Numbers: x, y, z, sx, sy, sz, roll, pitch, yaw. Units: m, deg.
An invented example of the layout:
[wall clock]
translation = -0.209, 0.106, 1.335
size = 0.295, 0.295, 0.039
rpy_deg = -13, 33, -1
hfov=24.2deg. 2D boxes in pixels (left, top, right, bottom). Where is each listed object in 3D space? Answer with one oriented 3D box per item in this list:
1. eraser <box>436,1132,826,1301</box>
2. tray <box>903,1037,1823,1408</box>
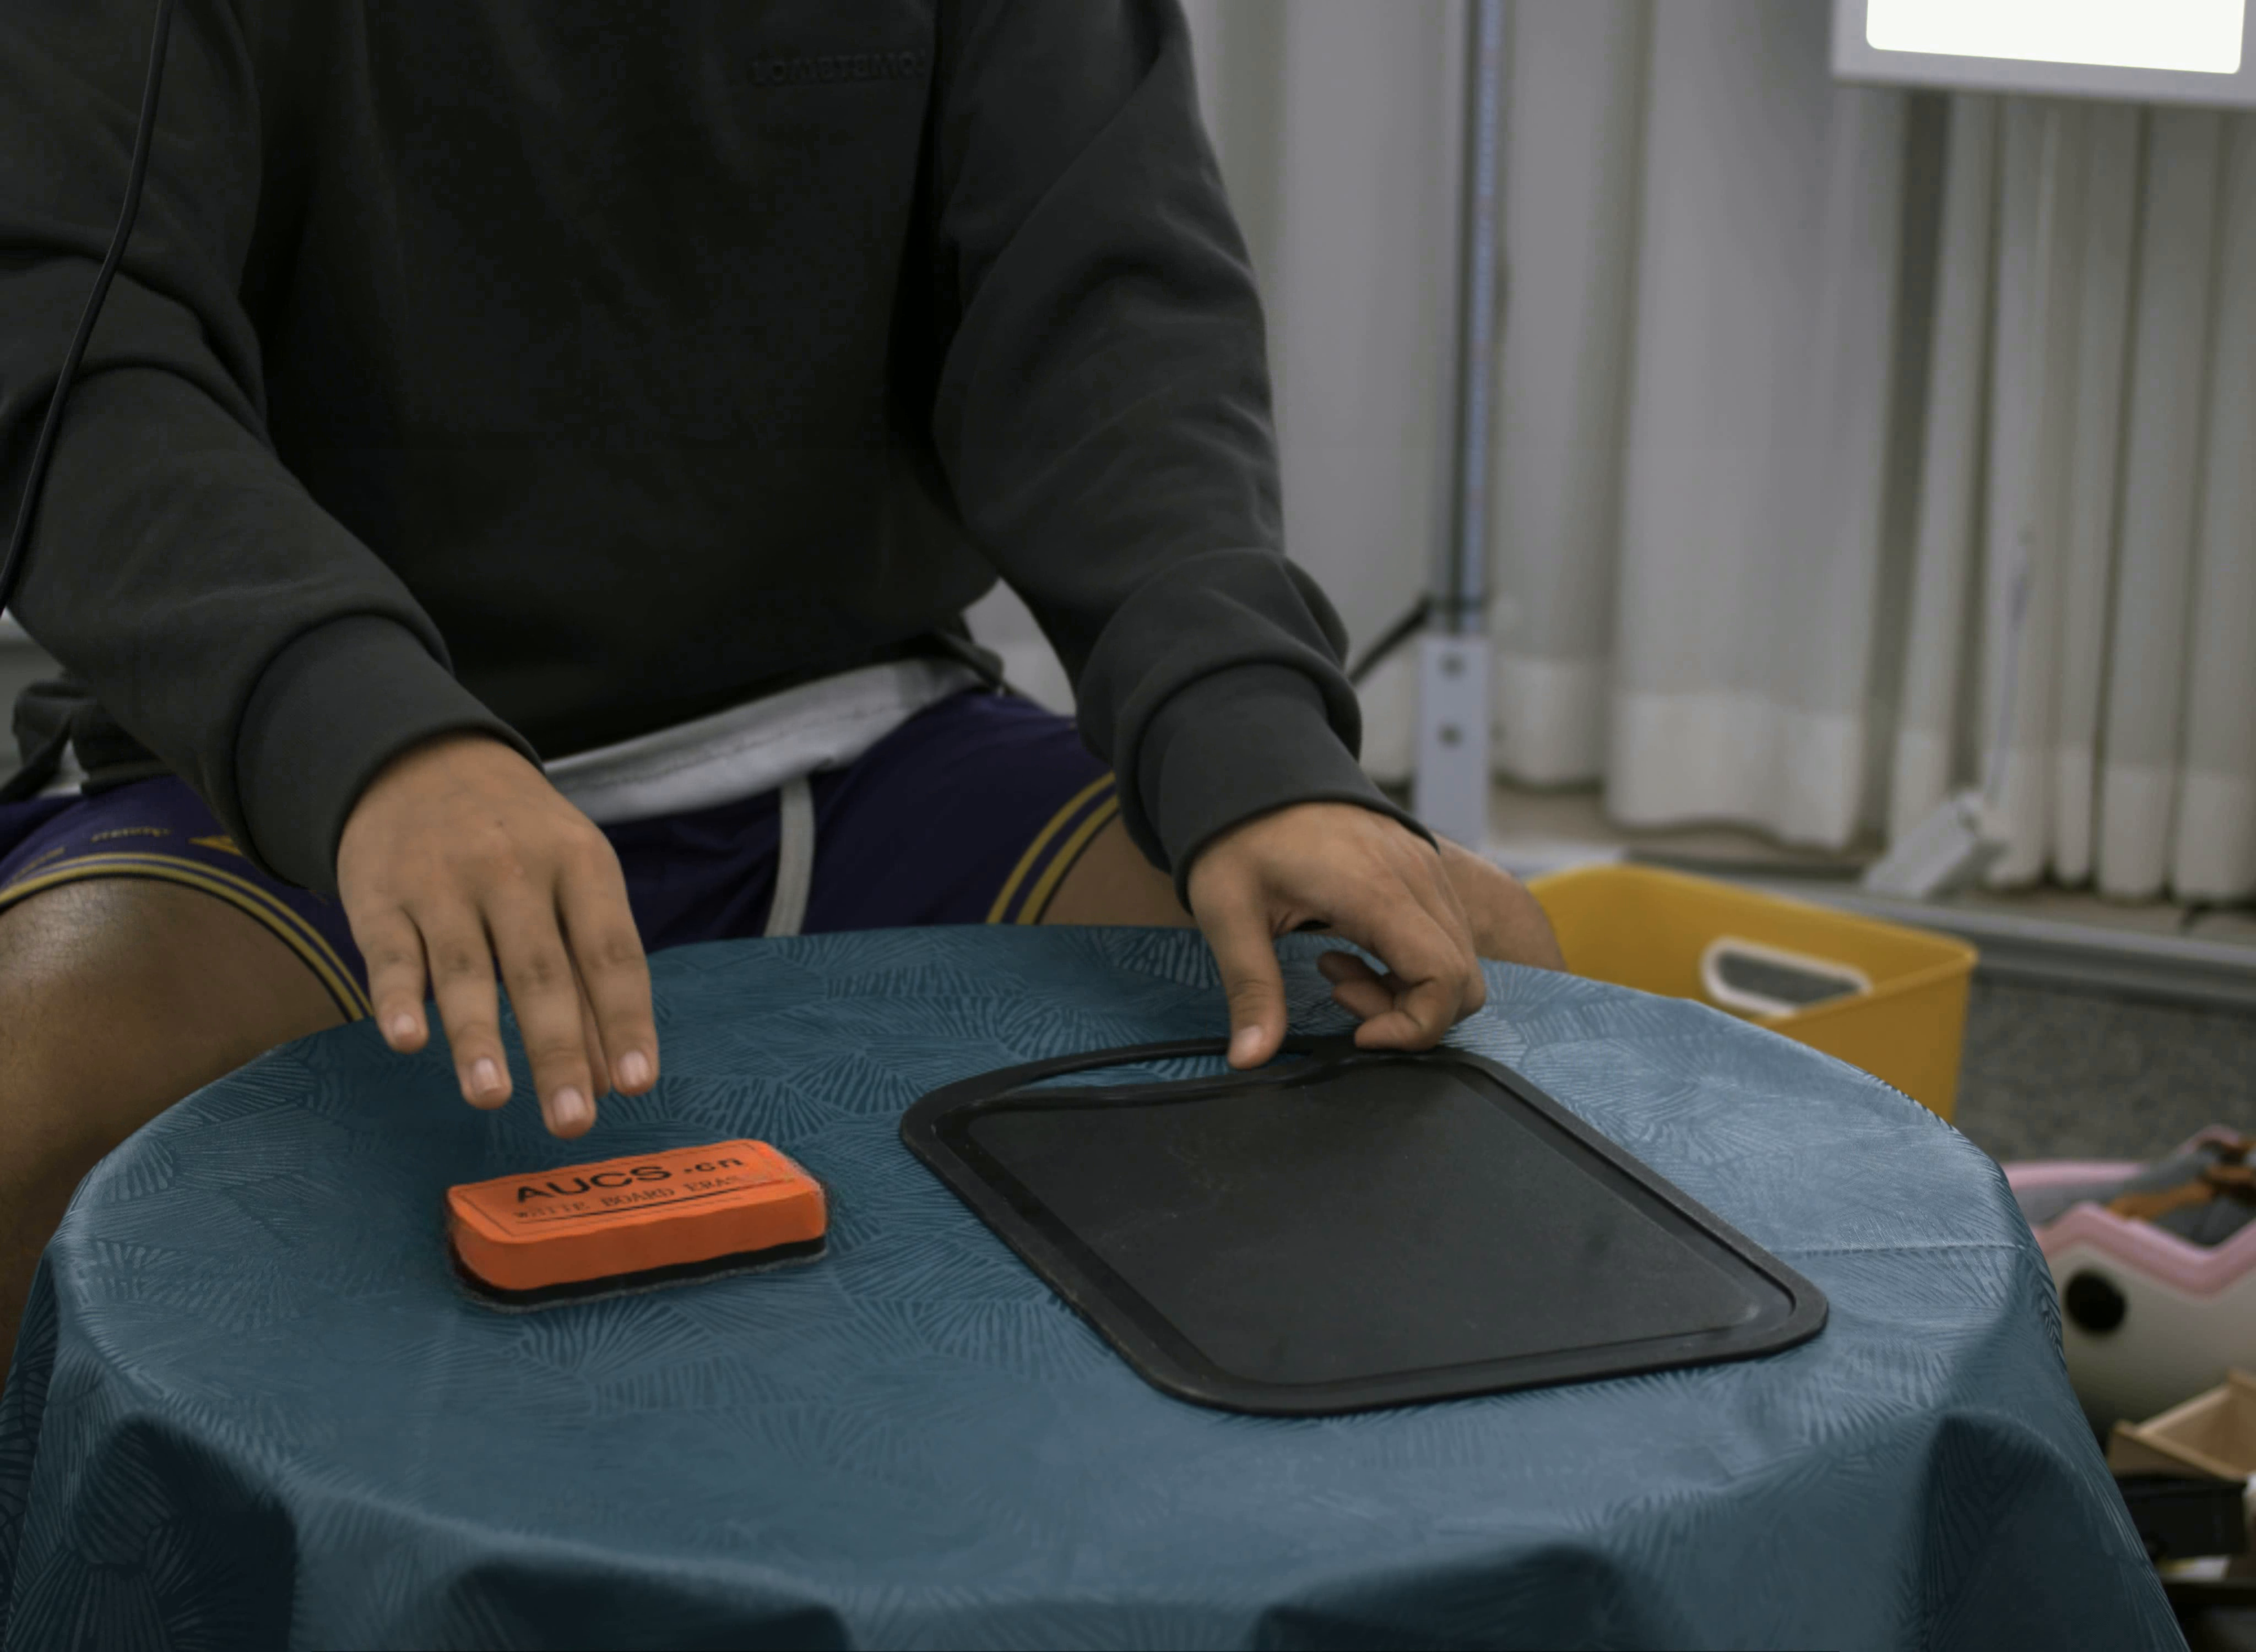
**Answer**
[eraser]
translation = -0.146, 0.114, 1.554
size = 0.108, 0.023, 0.058
rpy_deg = -7, 18, -29
[tray]
translation = 0.060, 0.113, 1.610
size = 0.211, 0.010, 0.322
rpy_deg = -5, 16, -20
